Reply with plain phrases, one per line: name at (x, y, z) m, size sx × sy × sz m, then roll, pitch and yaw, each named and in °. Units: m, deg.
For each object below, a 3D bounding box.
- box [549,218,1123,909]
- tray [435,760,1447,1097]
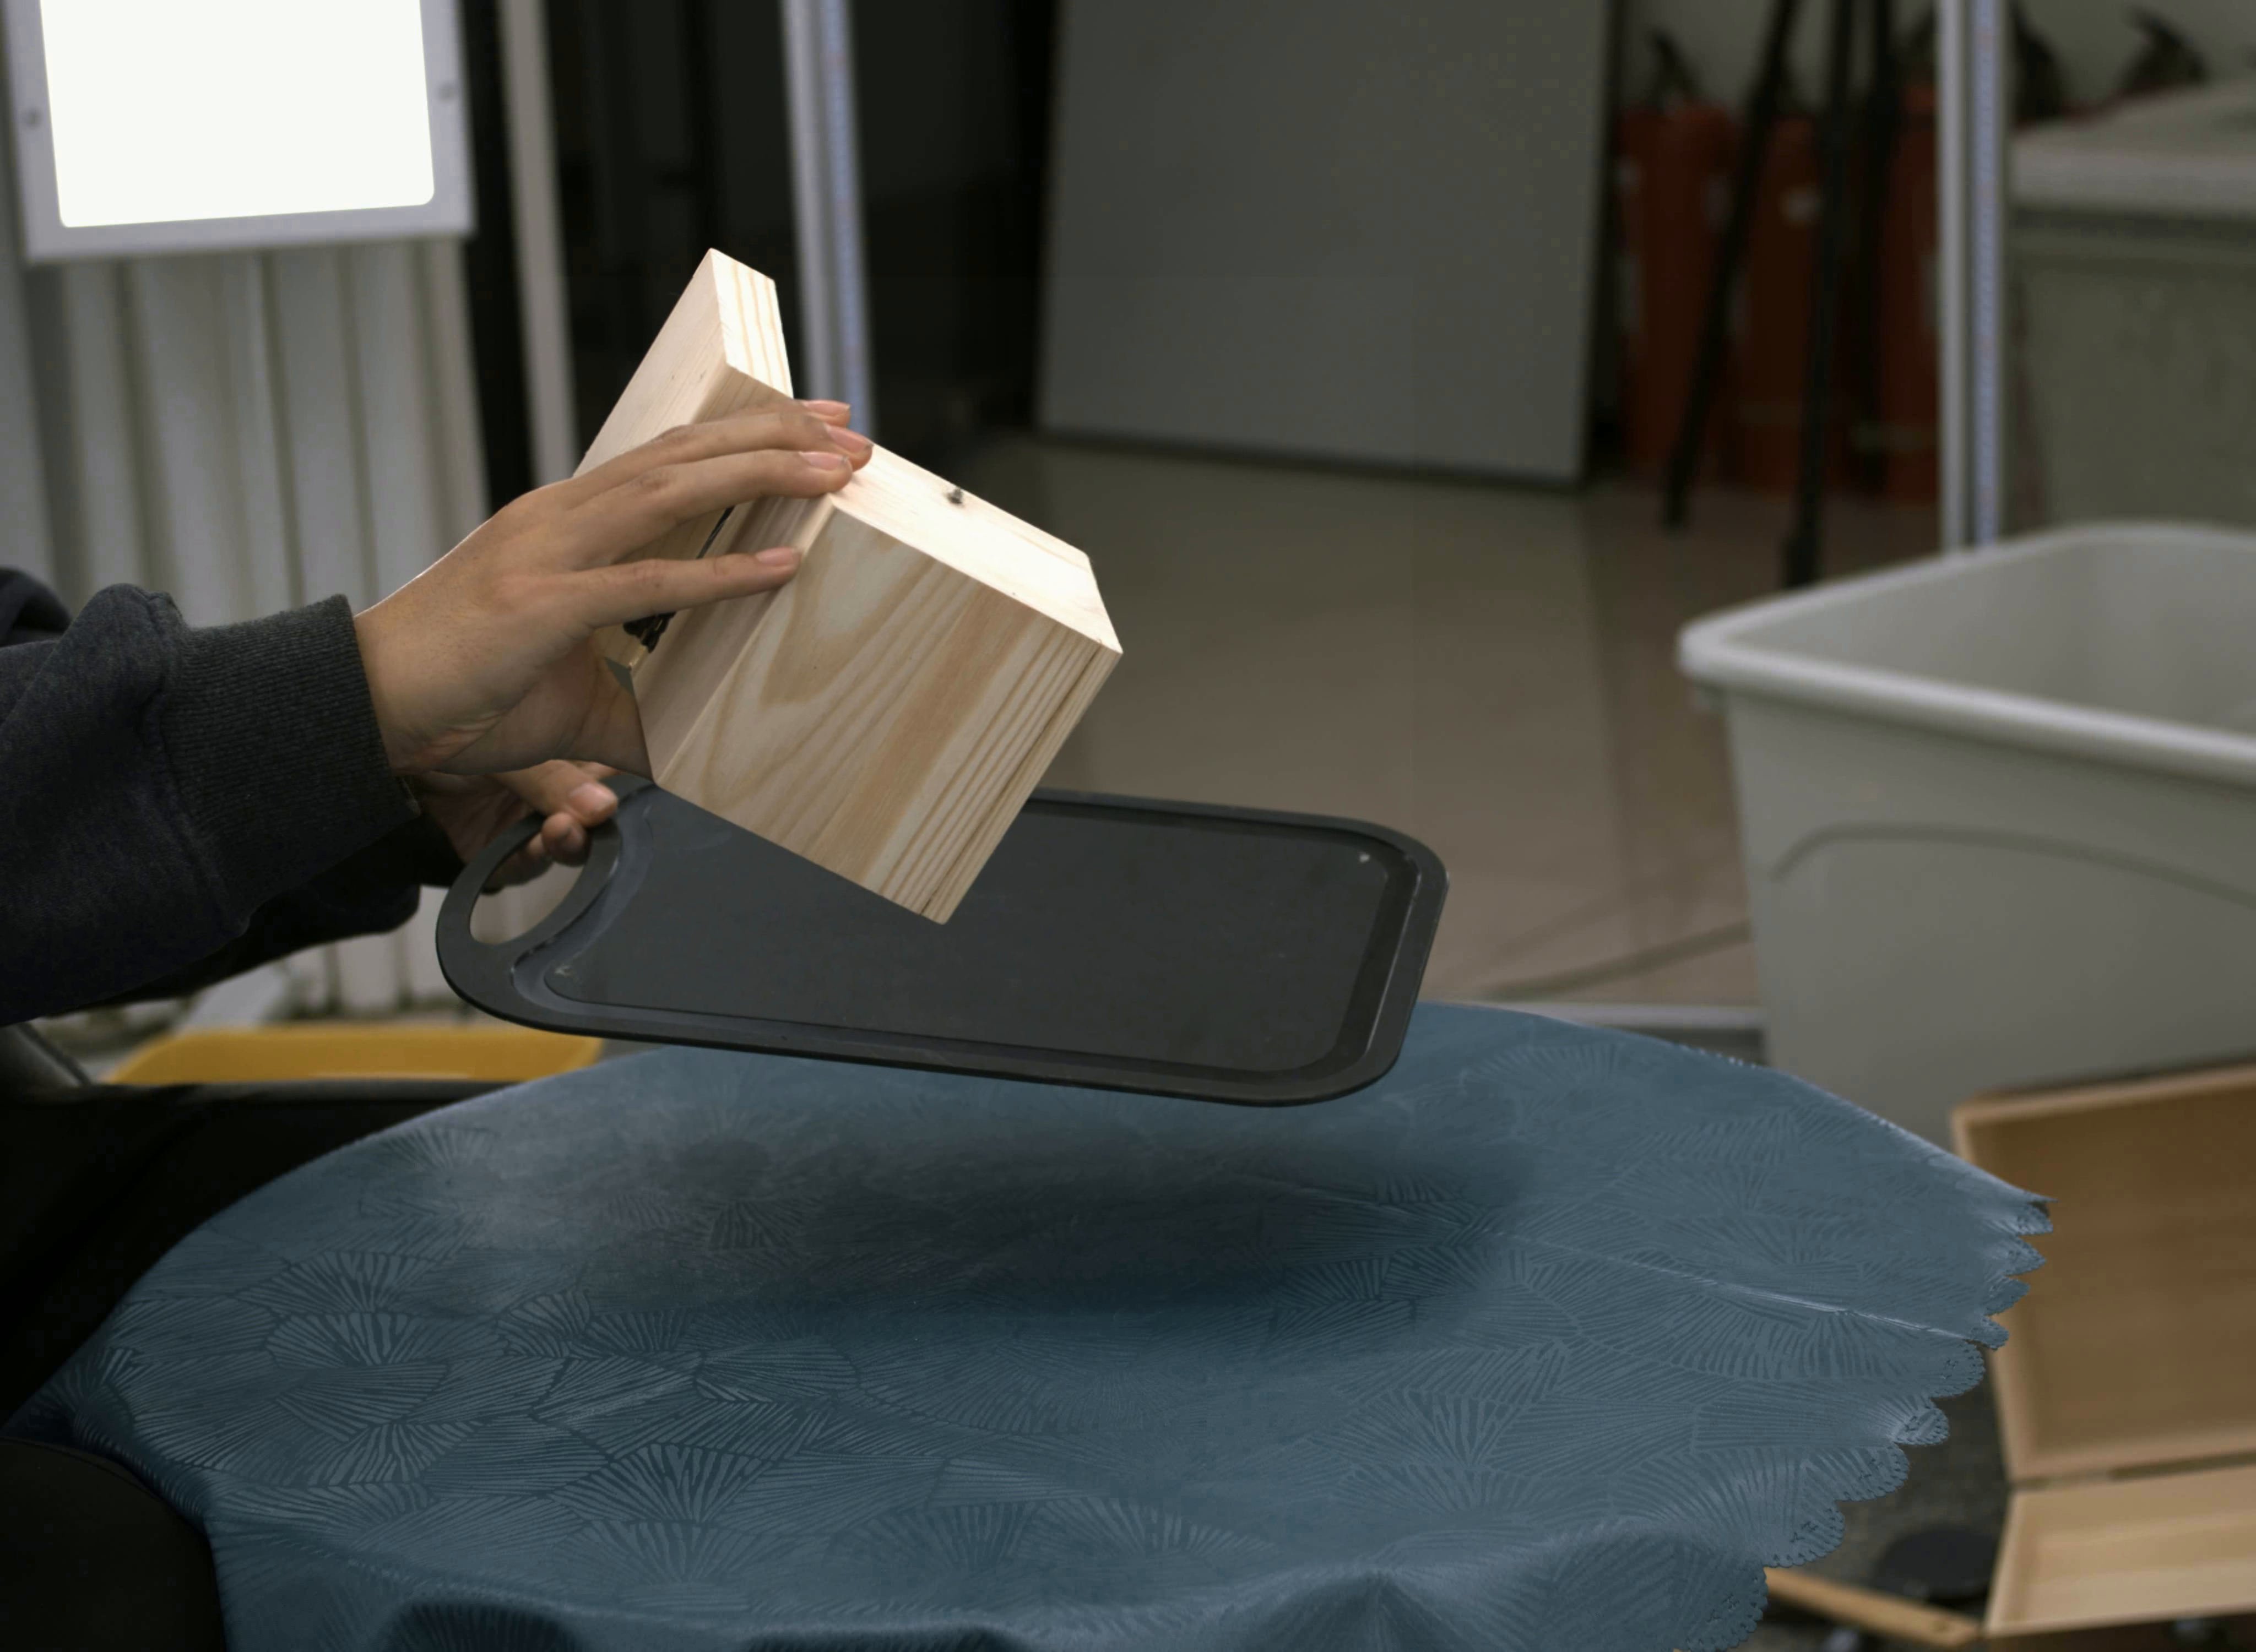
box at (-0.091, -0.081, 1.628) m, size 0.131 × 0.103 × 0.186 m, roll 26°, pitch 20°, yaw -22°
tray at (-0.063, 0.028, 1.754) m, size 0.323 × 0.010 × 0.210 m, roll 6°, pitch 25°, yaw 11°
